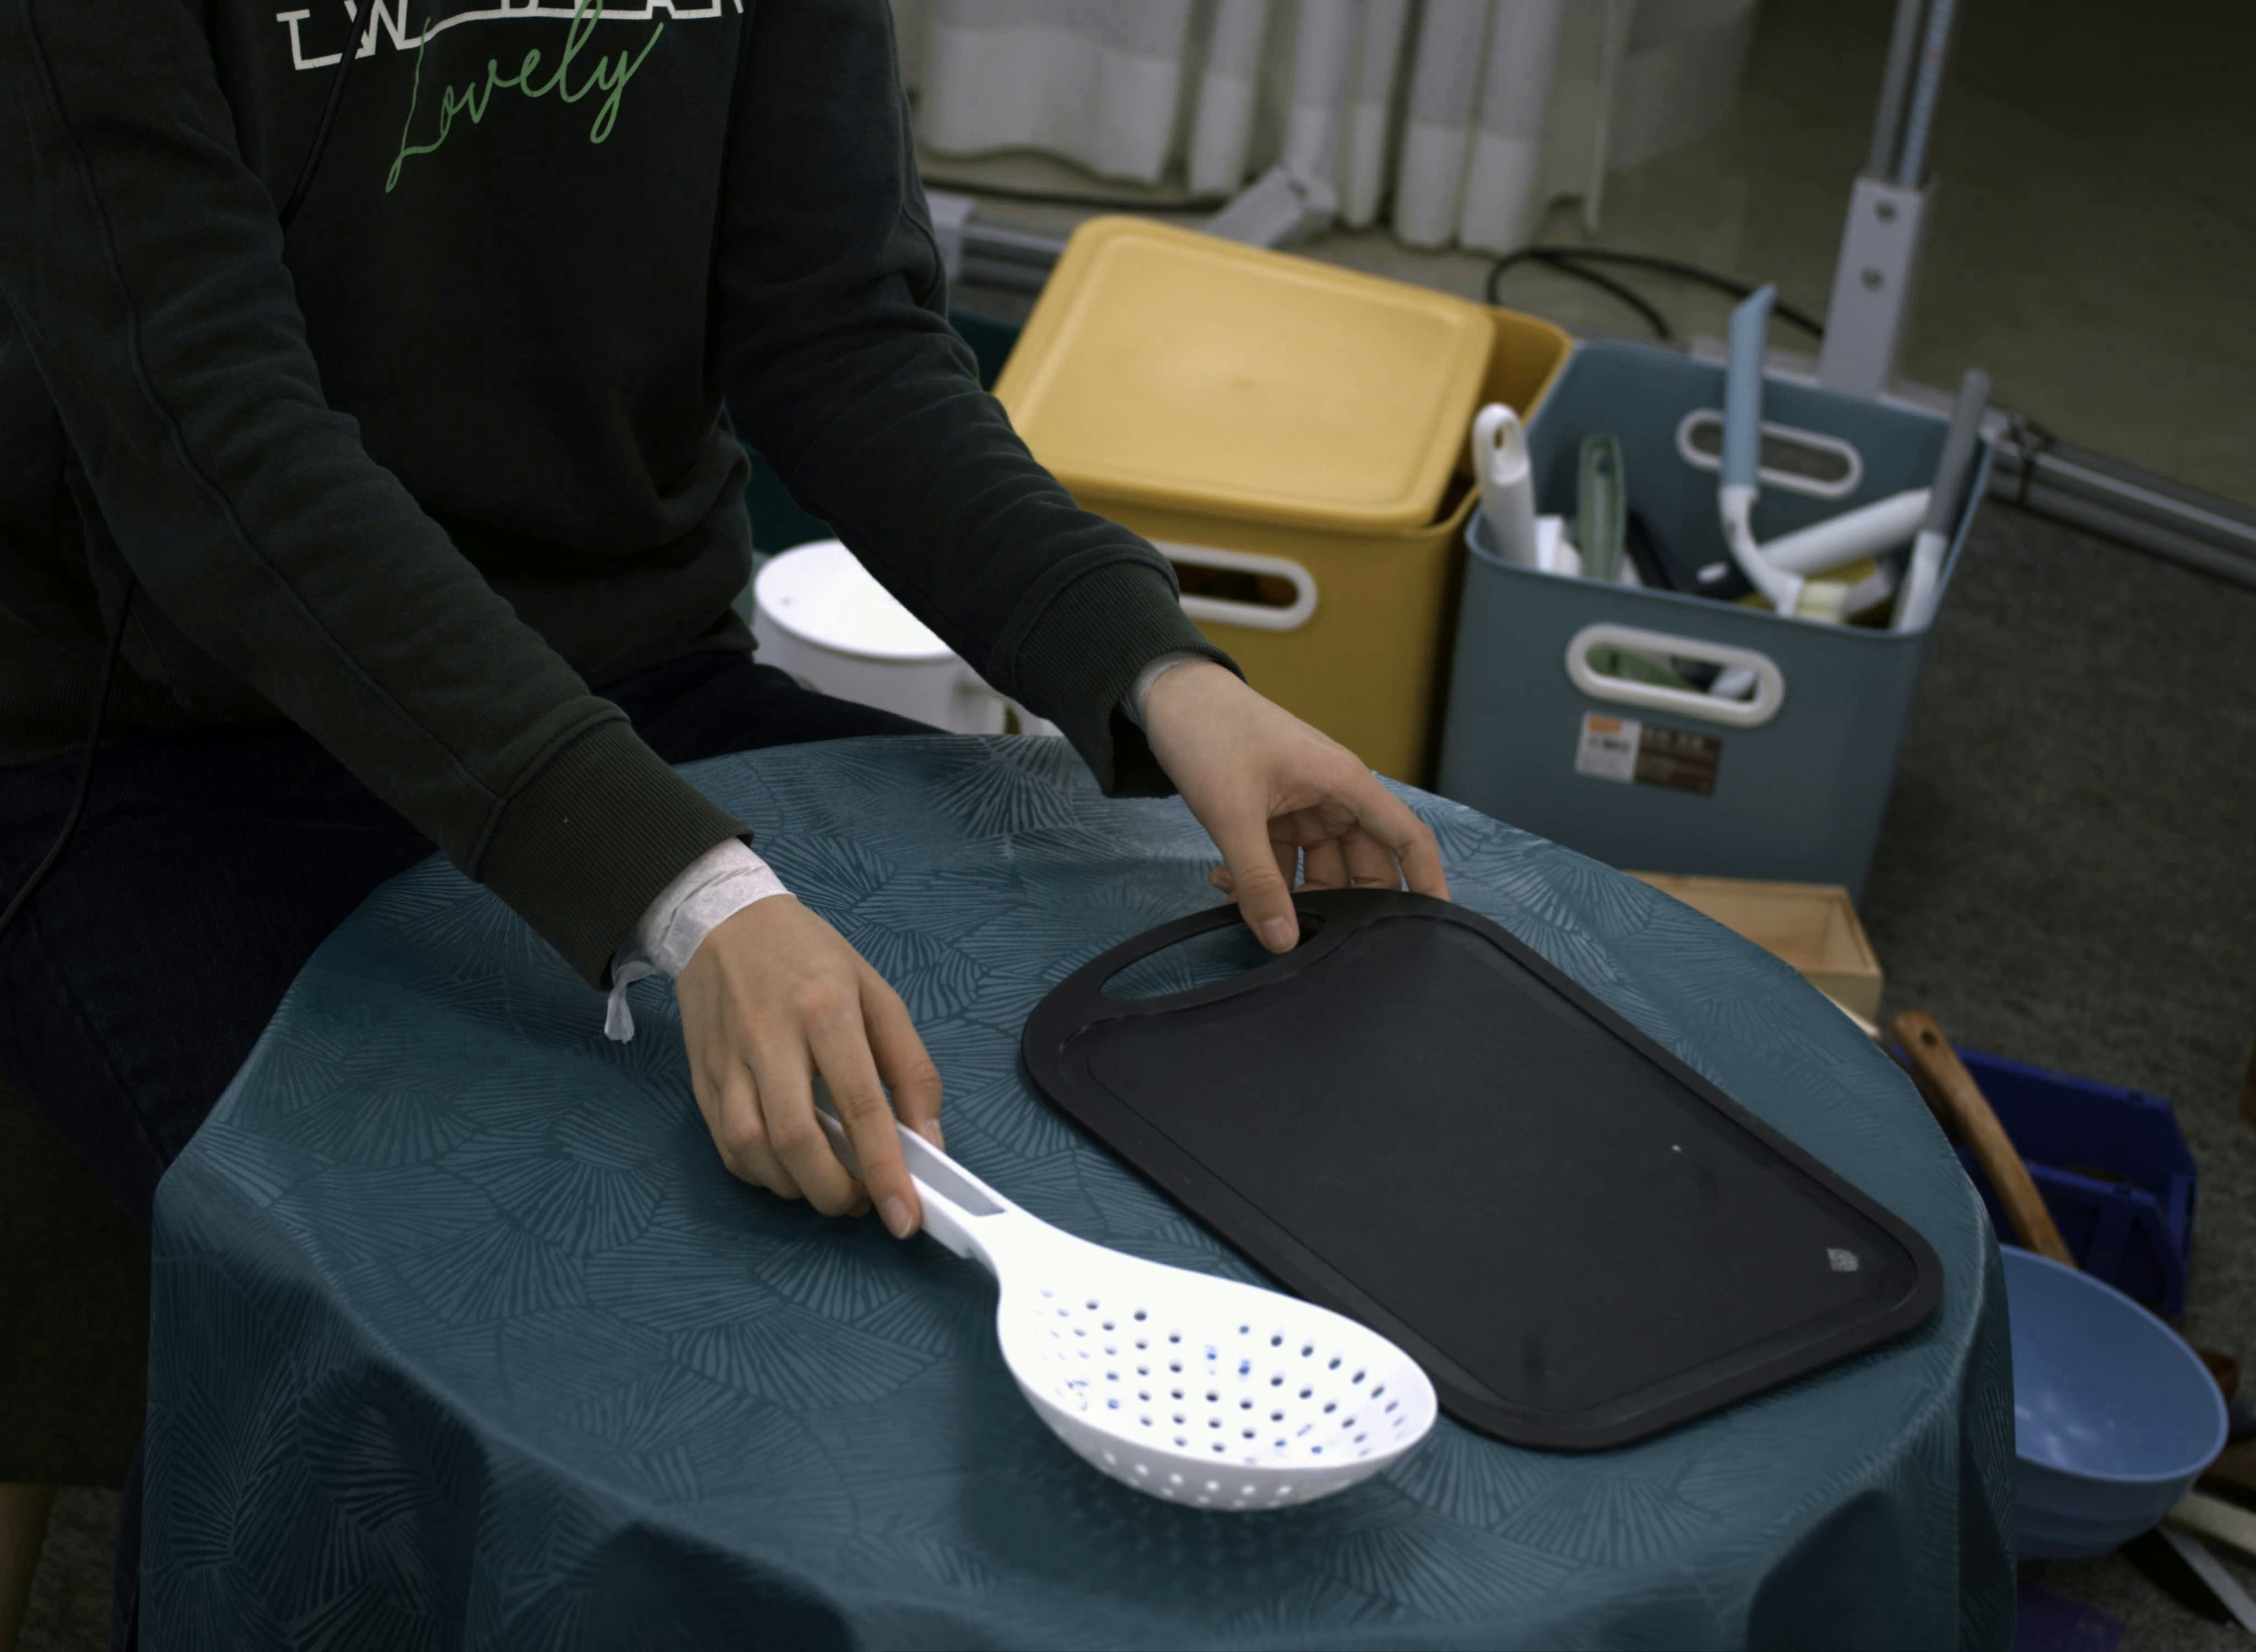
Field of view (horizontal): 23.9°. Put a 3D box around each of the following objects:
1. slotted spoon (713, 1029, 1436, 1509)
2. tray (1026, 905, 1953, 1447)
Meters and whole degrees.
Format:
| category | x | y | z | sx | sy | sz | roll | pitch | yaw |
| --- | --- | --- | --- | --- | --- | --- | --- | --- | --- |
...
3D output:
| category | x | y | z | sx | sy | sz | roll | pitch | yaw |
| --- | --- | --- | --- | --- | --- | --- | --- | --- | --- |
| slotted spoon | -0.035 | 0.136 | 1.715 | 0.135 | 0.045 | 0.353 | -2 | 26 | -37 |
| tray | 0.115 | 0.110 | 1.832 | 0.210 | 0.010 | 0.328 | -16 | 36 | -33 |
